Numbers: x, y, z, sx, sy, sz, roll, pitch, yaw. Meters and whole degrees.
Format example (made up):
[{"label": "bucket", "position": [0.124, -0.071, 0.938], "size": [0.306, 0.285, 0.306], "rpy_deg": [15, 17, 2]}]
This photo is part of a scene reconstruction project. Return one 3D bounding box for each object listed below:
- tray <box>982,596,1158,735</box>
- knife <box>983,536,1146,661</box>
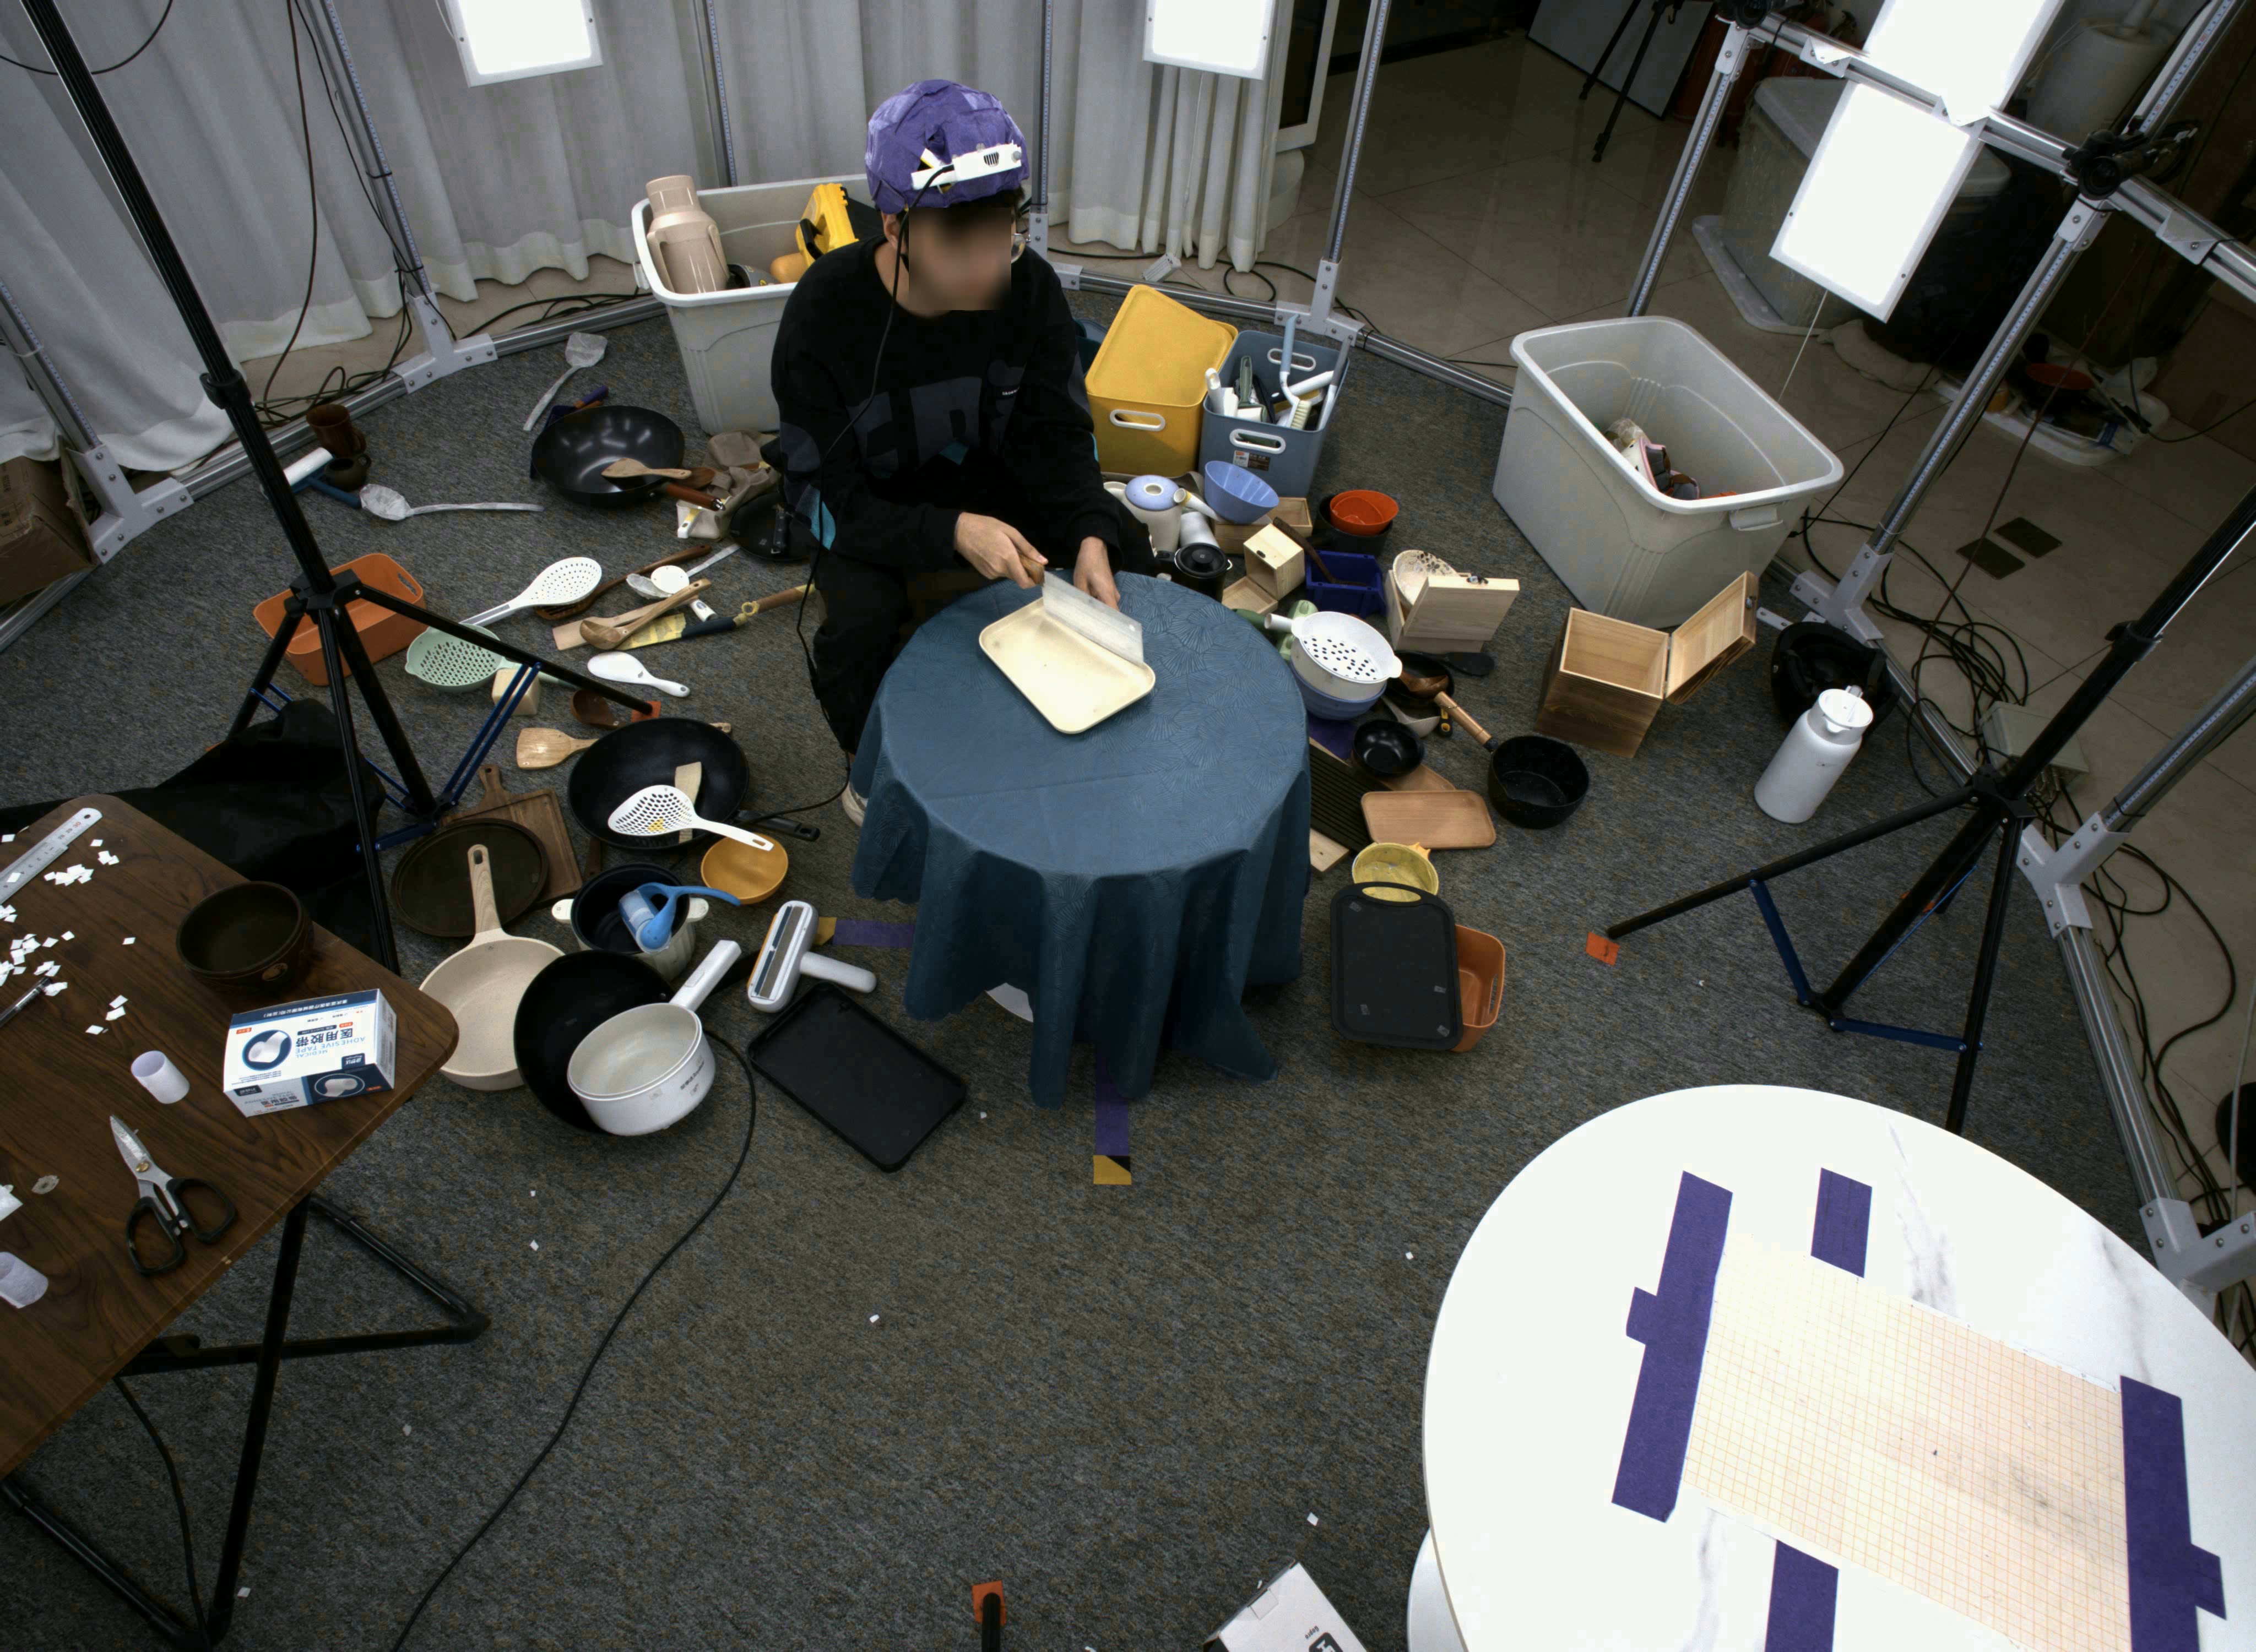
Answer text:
[{"label": "tray", "position": [-0.084, -0.236, 1.843], "size": [0.172, 0.017, 0.244], "rpy_deg": [-31, 60, -19]}, {"label": "knife", "position": [-0.091, -0.323, 1.845], "size": [0.310, 0.090, 0.021], "rpy_deg": [34, 61, 26]}]
